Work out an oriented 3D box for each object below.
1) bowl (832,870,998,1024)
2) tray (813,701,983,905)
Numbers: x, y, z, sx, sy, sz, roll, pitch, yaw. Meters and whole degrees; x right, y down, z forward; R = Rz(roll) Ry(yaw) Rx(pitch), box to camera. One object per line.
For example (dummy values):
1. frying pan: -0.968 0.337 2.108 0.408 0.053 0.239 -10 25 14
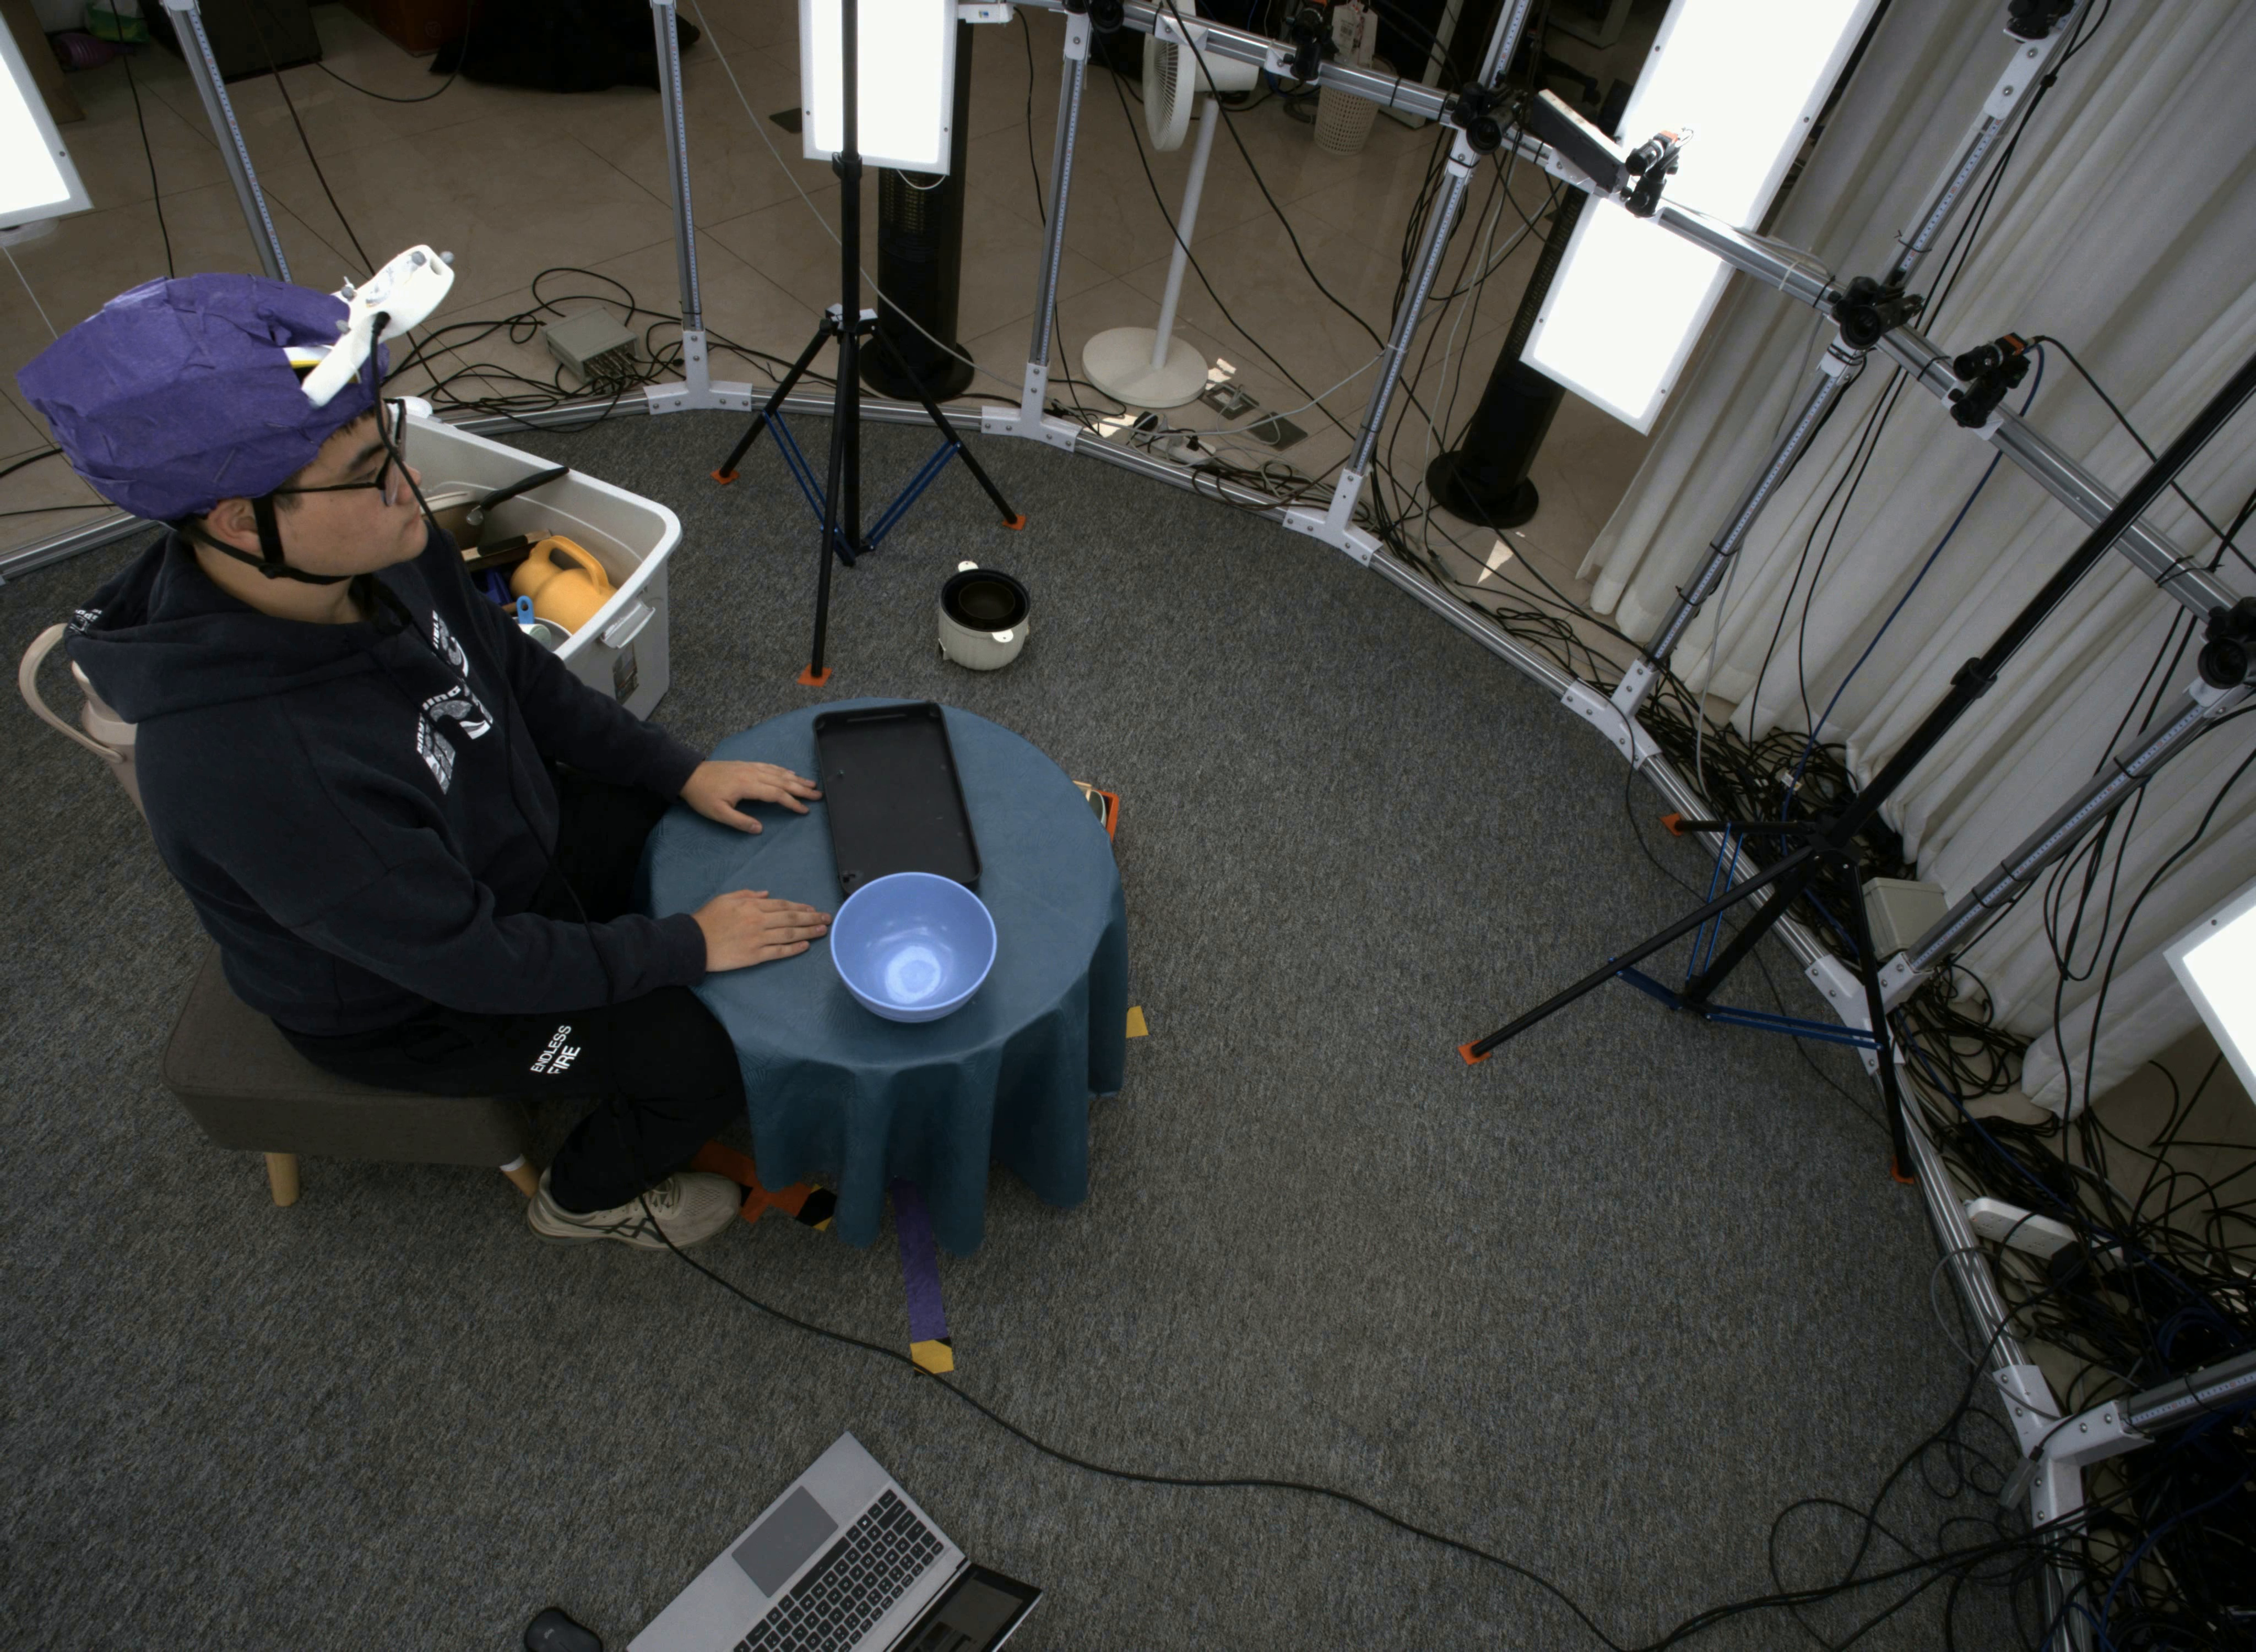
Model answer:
1. bowl: -0.259 0.159 1.578 0.196 0.097 0.193 8 54 -9
2. tray: -0.313 -0.034 1.749 0.185 0.038 0.310 -7 56 -18
